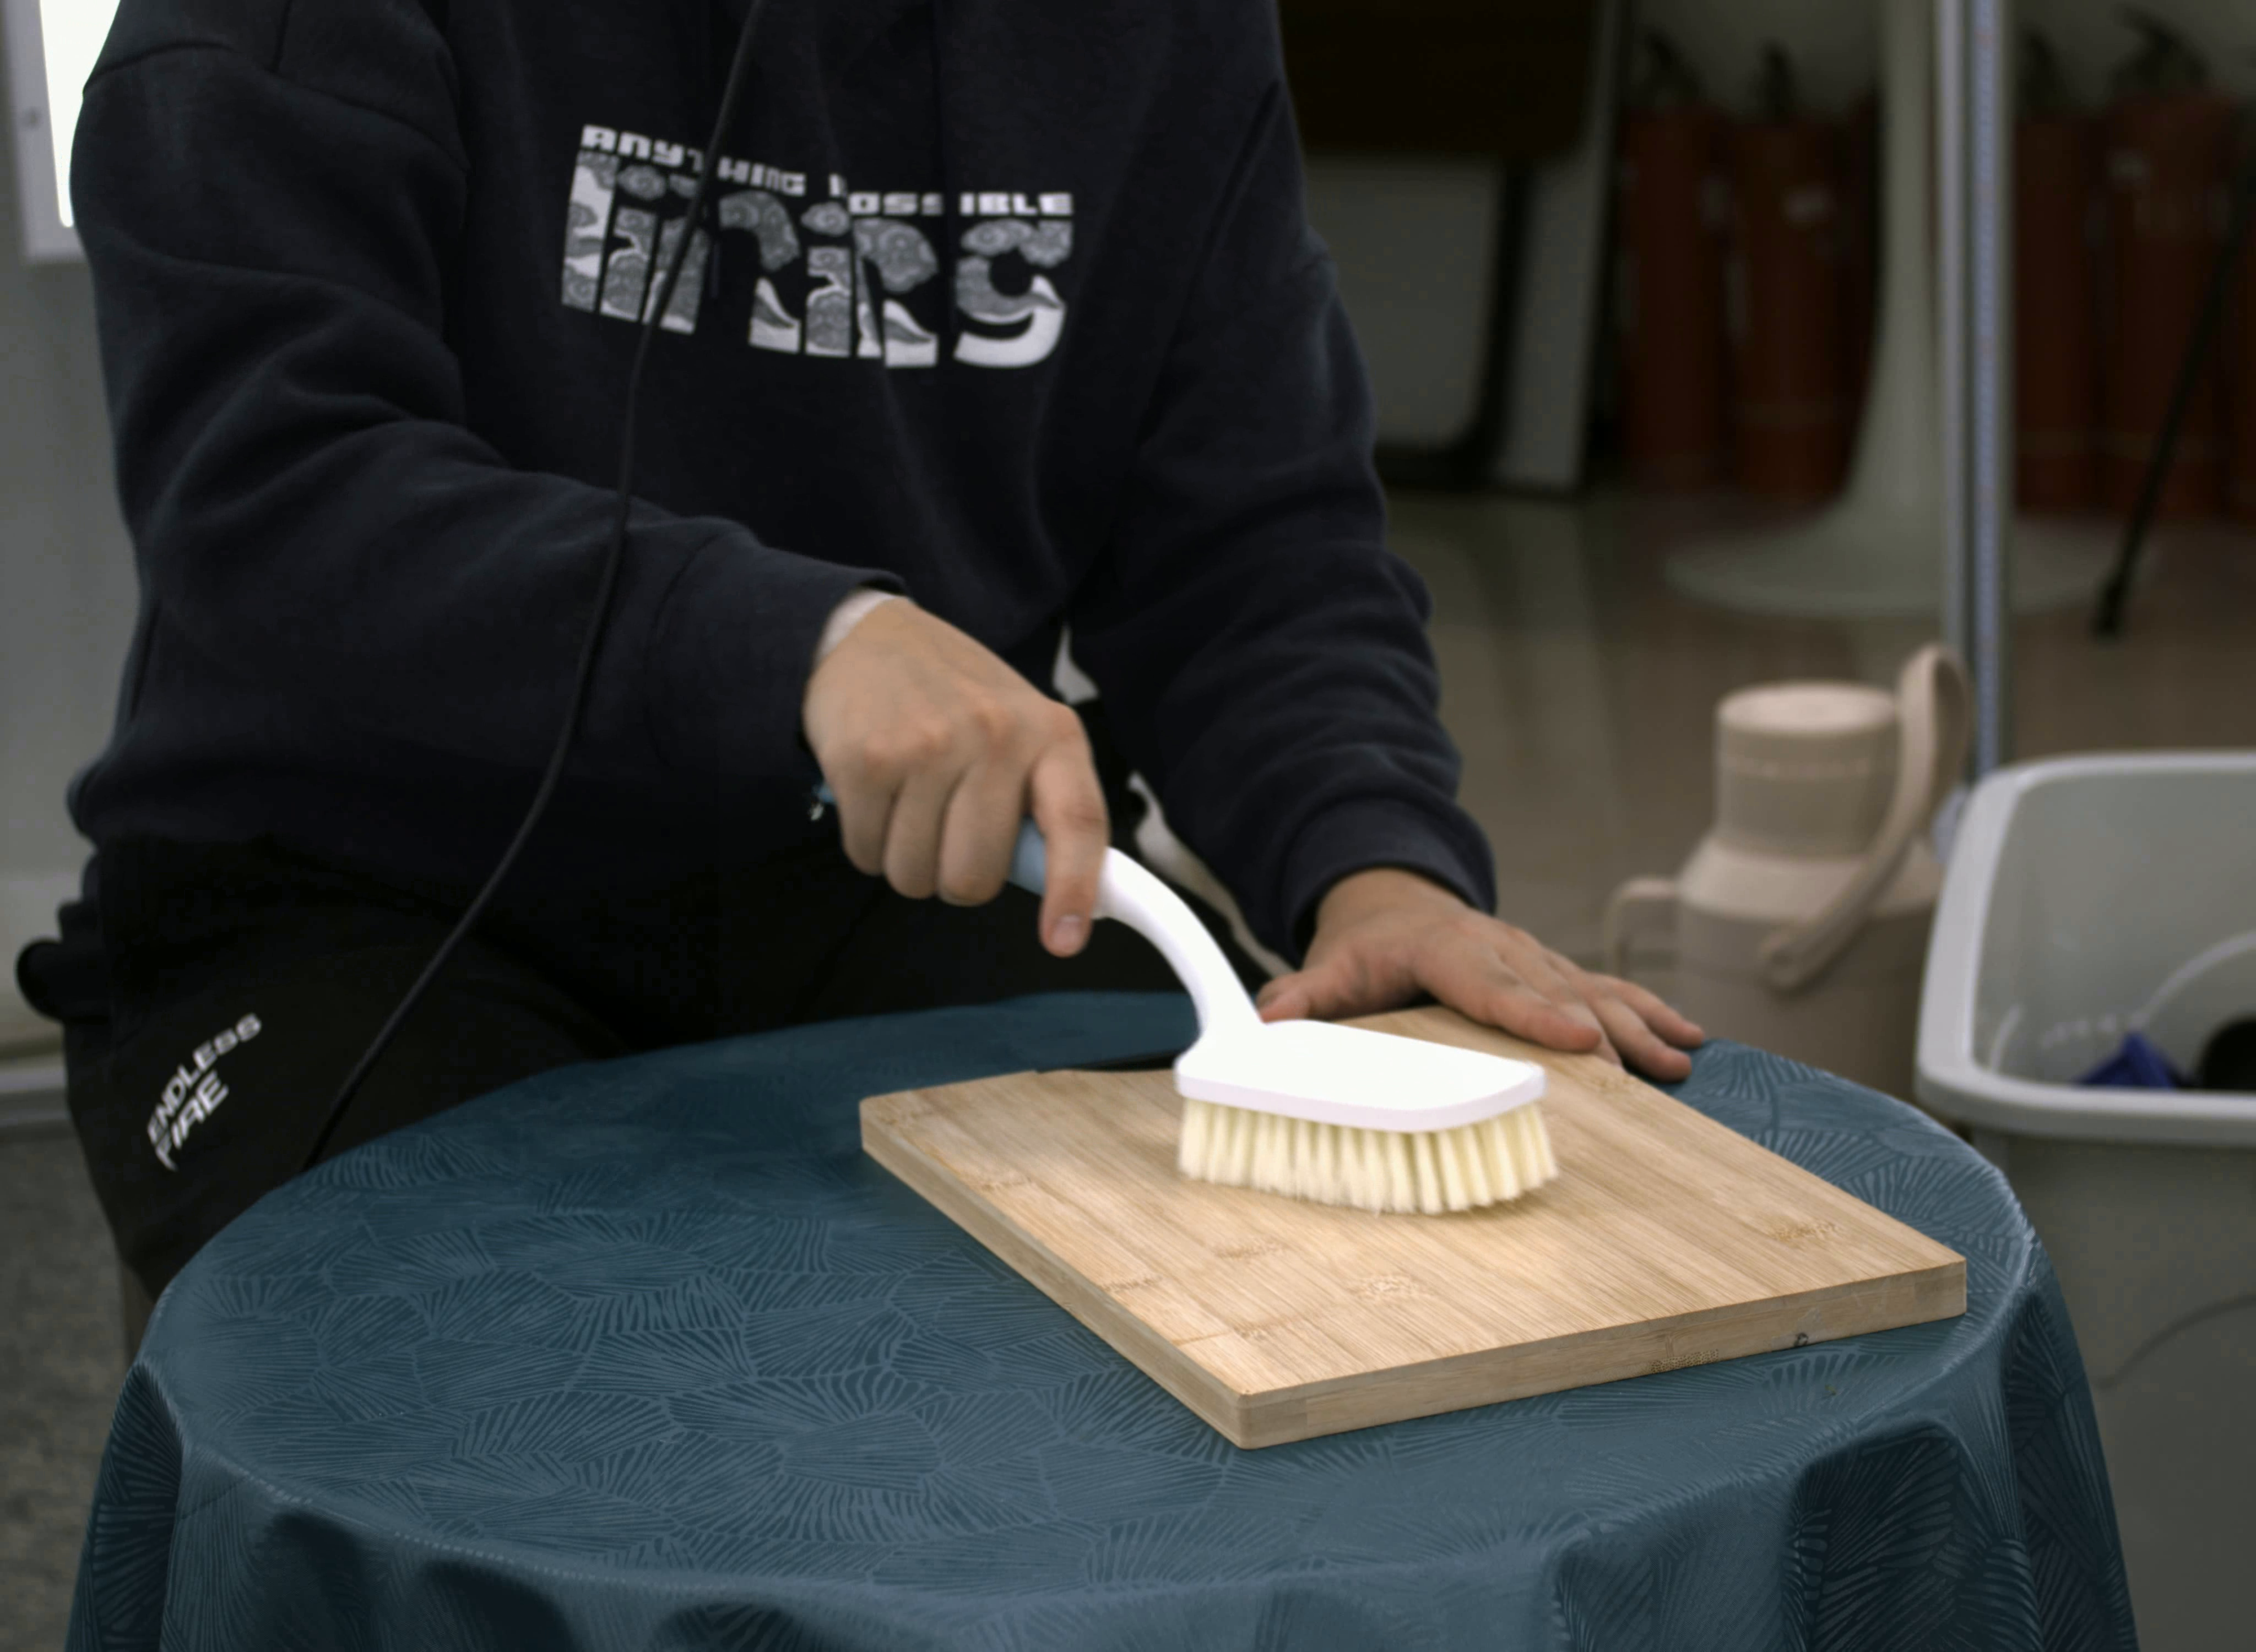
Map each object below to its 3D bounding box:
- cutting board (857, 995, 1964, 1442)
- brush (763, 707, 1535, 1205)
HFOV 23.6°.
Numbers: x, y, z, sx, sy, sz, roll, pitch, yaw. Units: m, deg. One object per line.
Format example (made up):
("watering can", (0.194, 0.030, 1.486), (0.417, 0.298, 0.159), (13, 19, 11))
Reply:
("cutting board", (0.079, 0.119, 1.725), (0.245, 0.024, 0.352), (-9, 14, -20))
("brush", (0.001, 0.055, 1.775), (0.328, 0.085, 0.082), (24, -5, 35))
